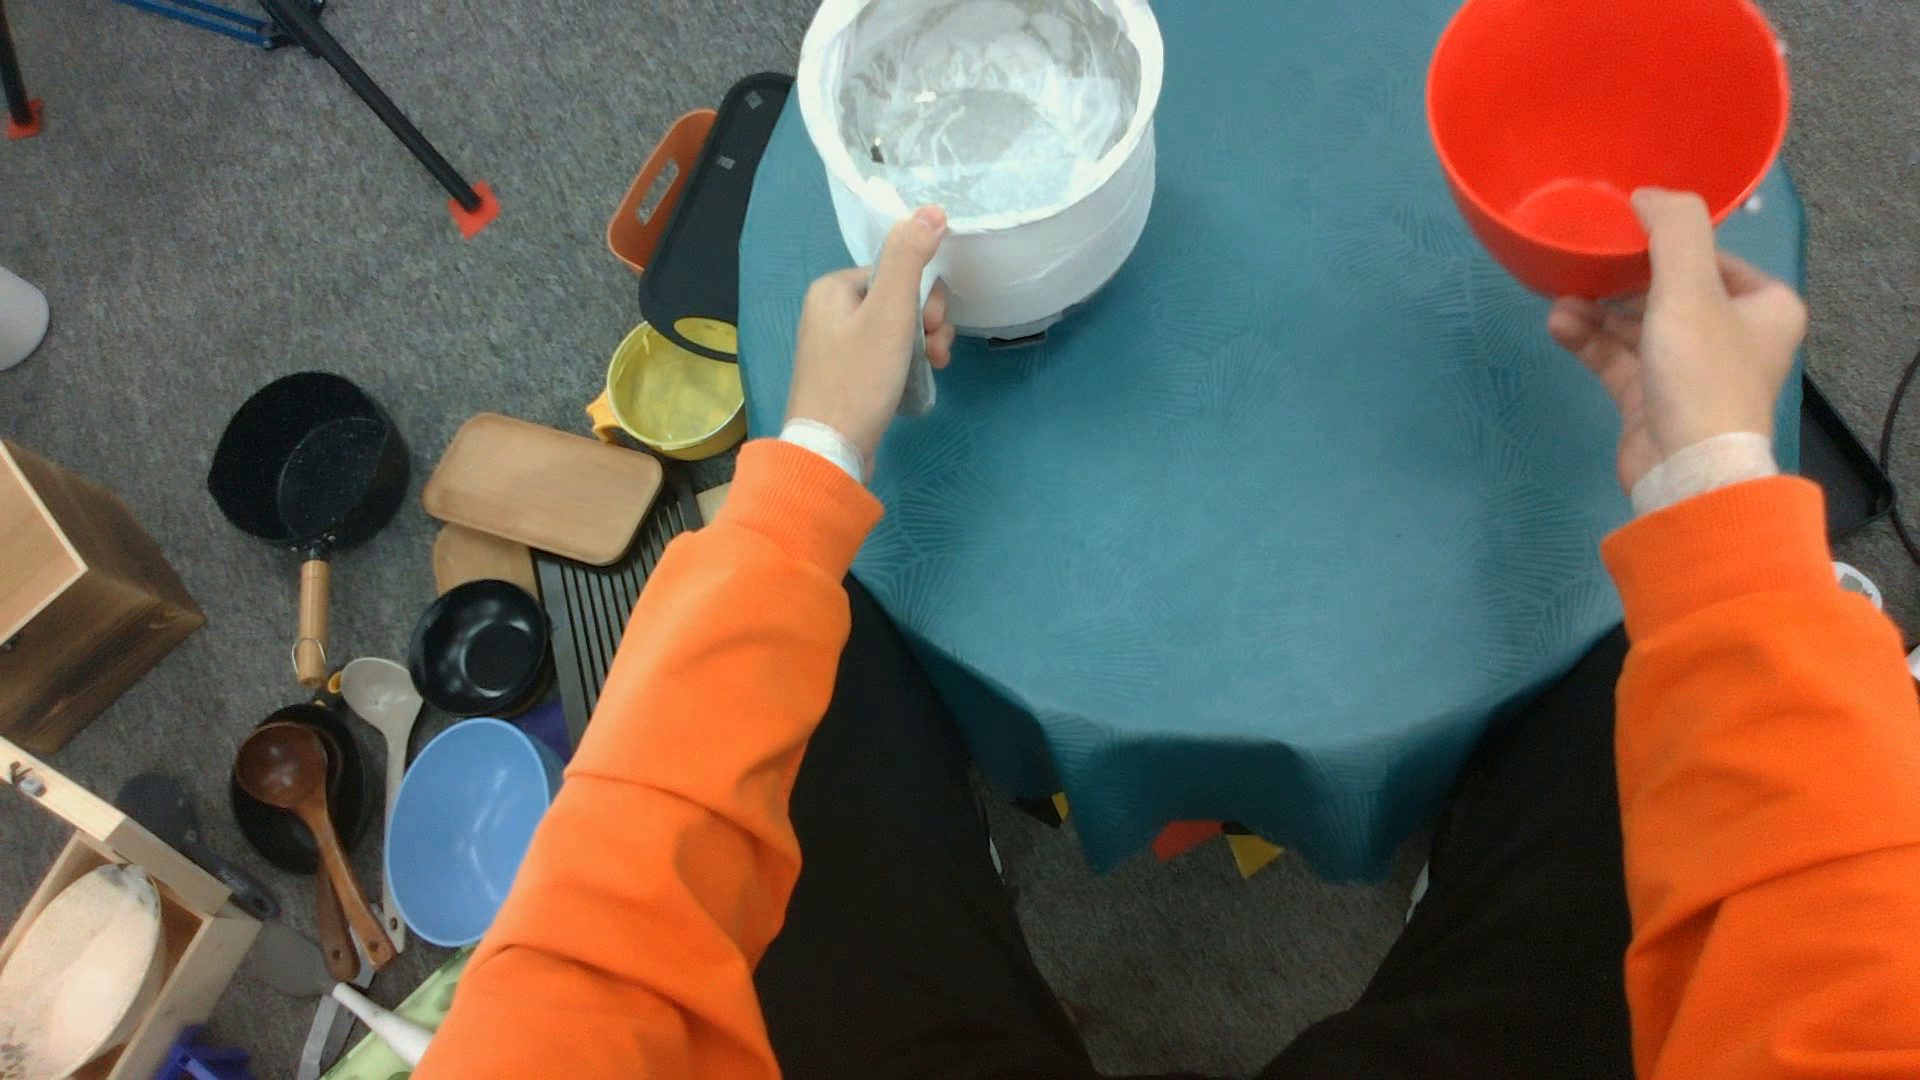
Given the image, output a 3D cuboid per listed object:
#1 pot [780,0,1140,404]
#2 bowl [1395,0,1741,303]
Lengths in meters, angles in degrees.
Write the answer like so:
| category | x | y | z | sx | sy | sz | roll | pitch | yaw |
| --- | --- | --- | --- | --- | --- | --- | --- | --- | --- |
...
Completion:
| category | x | y | z | sx | sy | sz | roll | pitch | yaw |
| --- | --- | --- | --- | --- | --- | --- | --- | --- | --- |
| pot | -0.004 | -0.191 | 0.724 | 0.178 | 0.136 | 0.234 | 18 | 75 | 11 |
| bowl | 0.280 | -0.179 | 0.657 | 0.148 | 0.104 | 0.148 | -4 | 65 | 10 |
